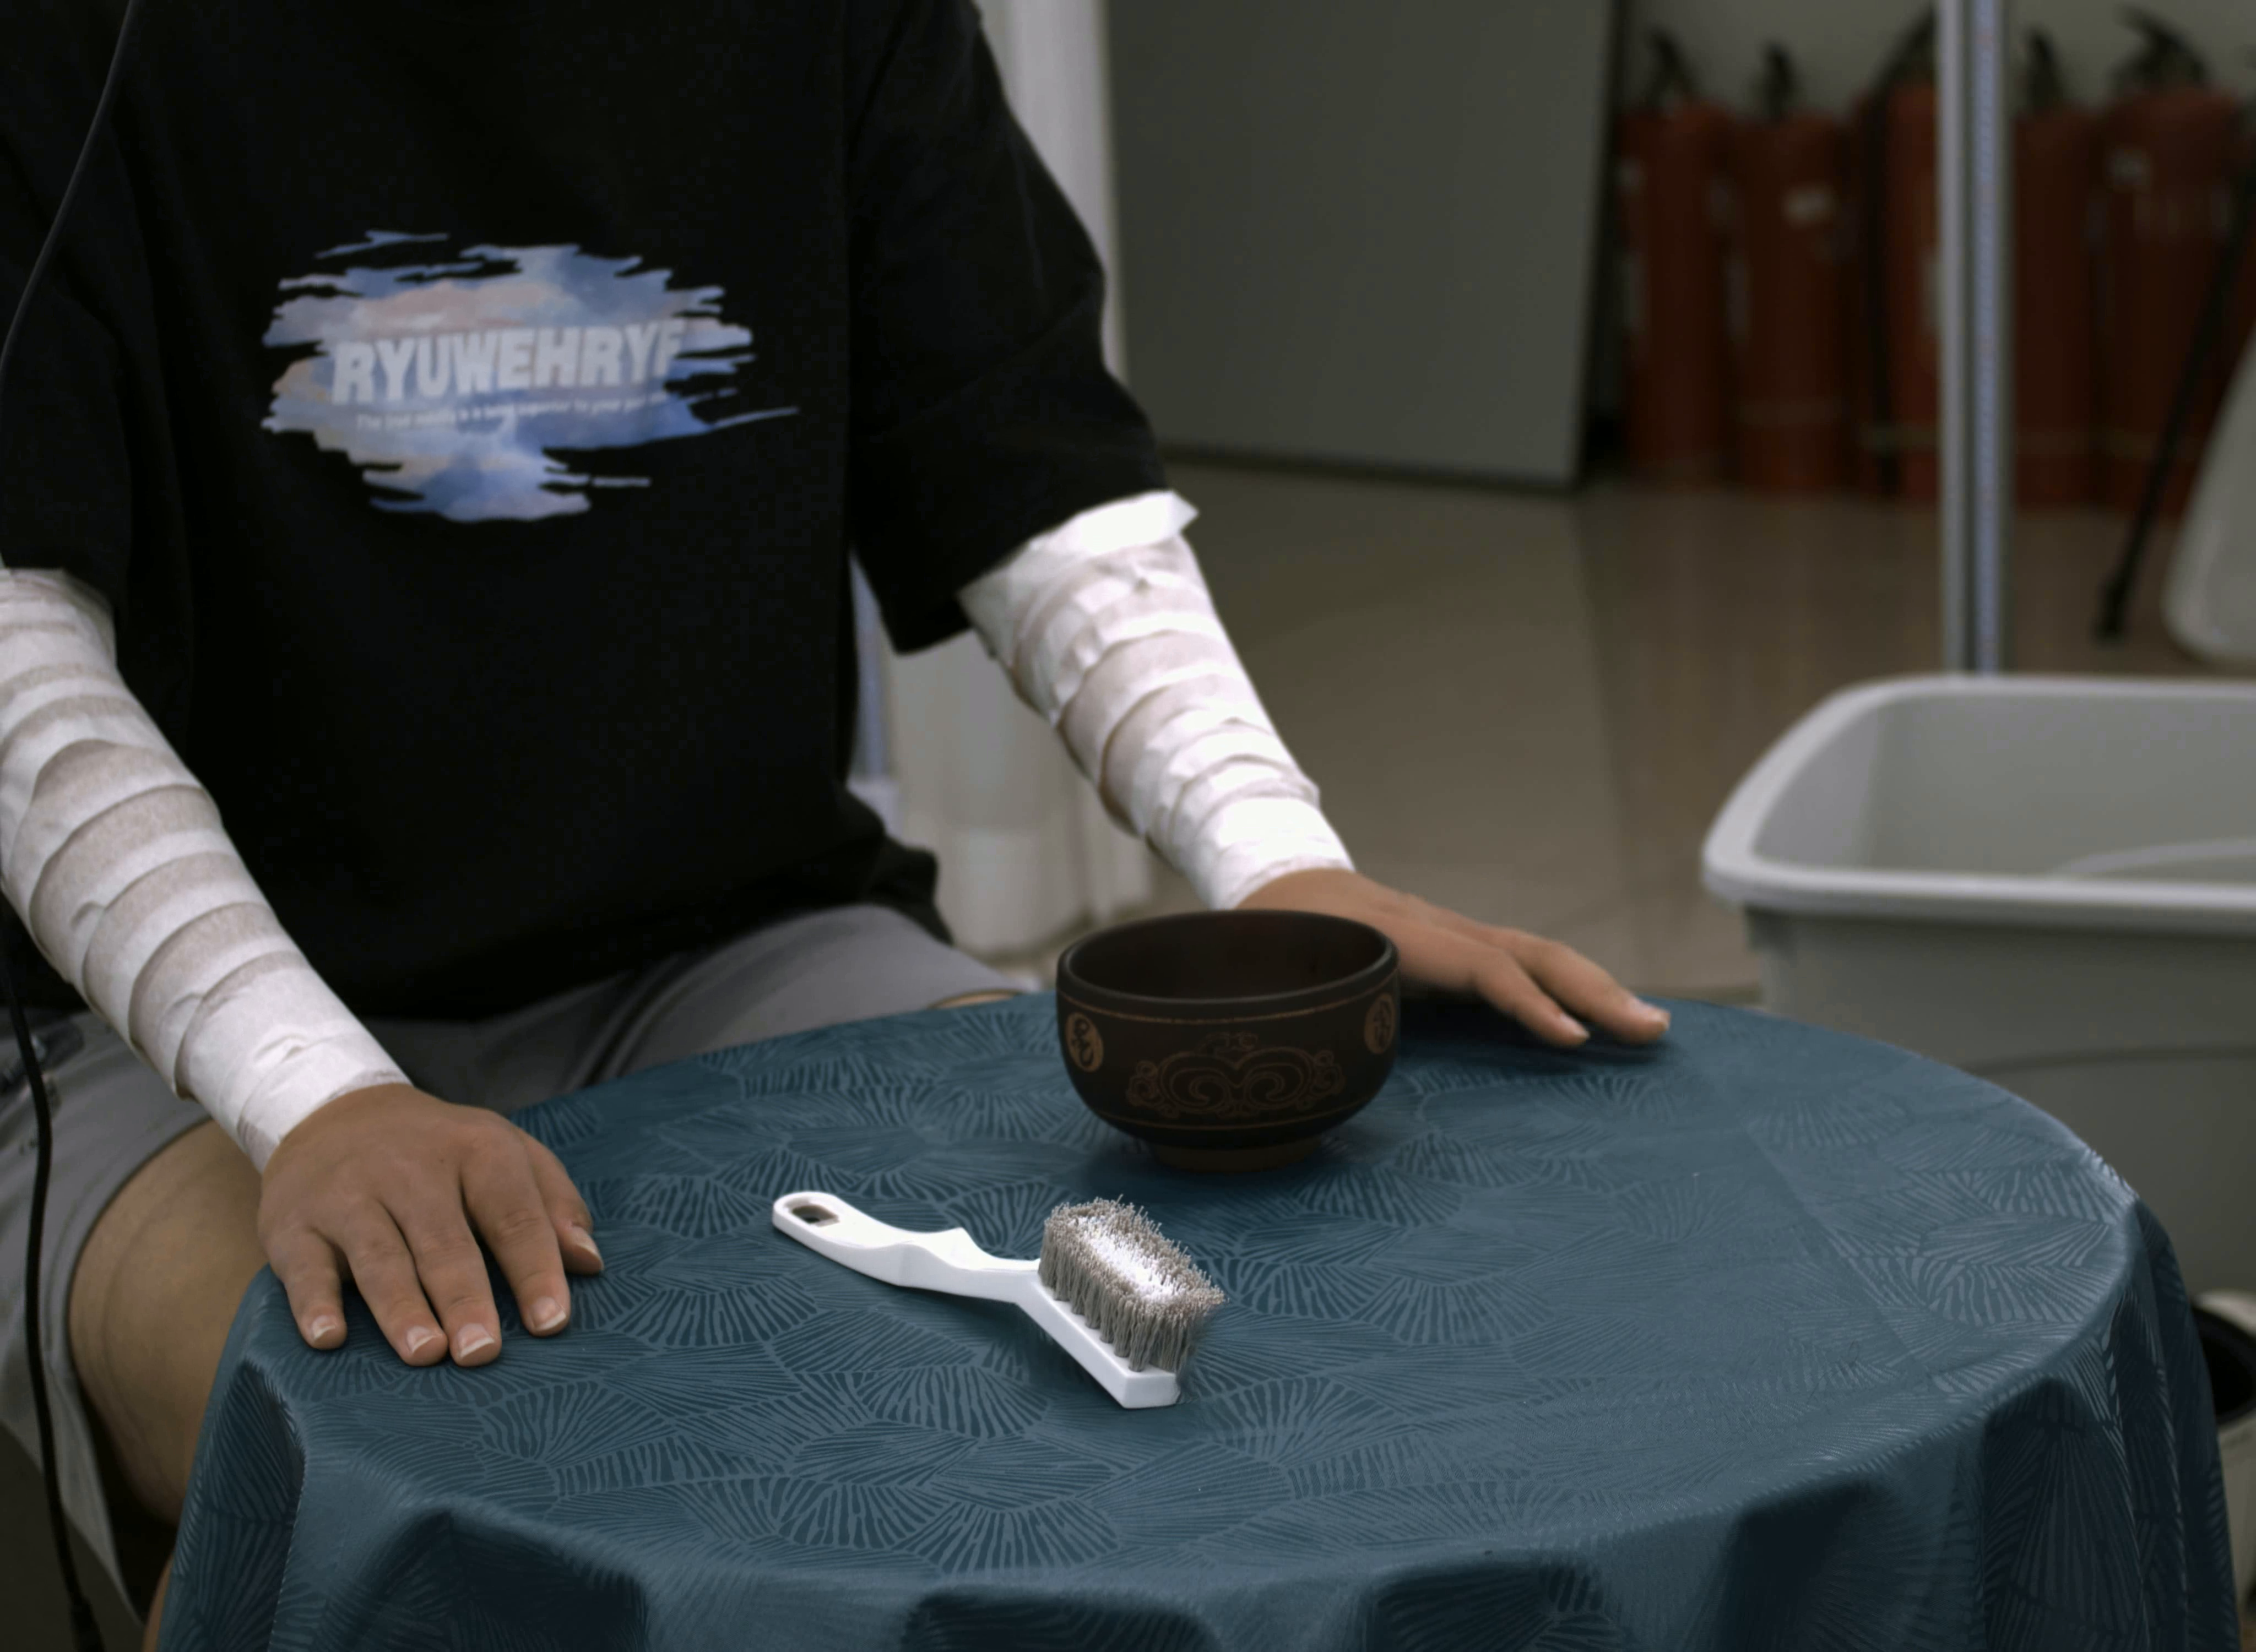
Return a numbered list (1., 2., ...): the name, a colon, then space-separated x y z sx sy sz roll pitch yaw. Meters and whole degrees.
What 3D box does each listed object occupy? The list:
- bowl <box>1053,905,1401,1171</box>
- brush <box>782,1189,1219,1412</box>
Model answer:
1. bowl: 0.035 0.074 1.802 0.116 0.070 0.118 -6 13 0
2. brush: -0.045 0.125 1.660 0.033 0.051 0.246 -11 16 -28
